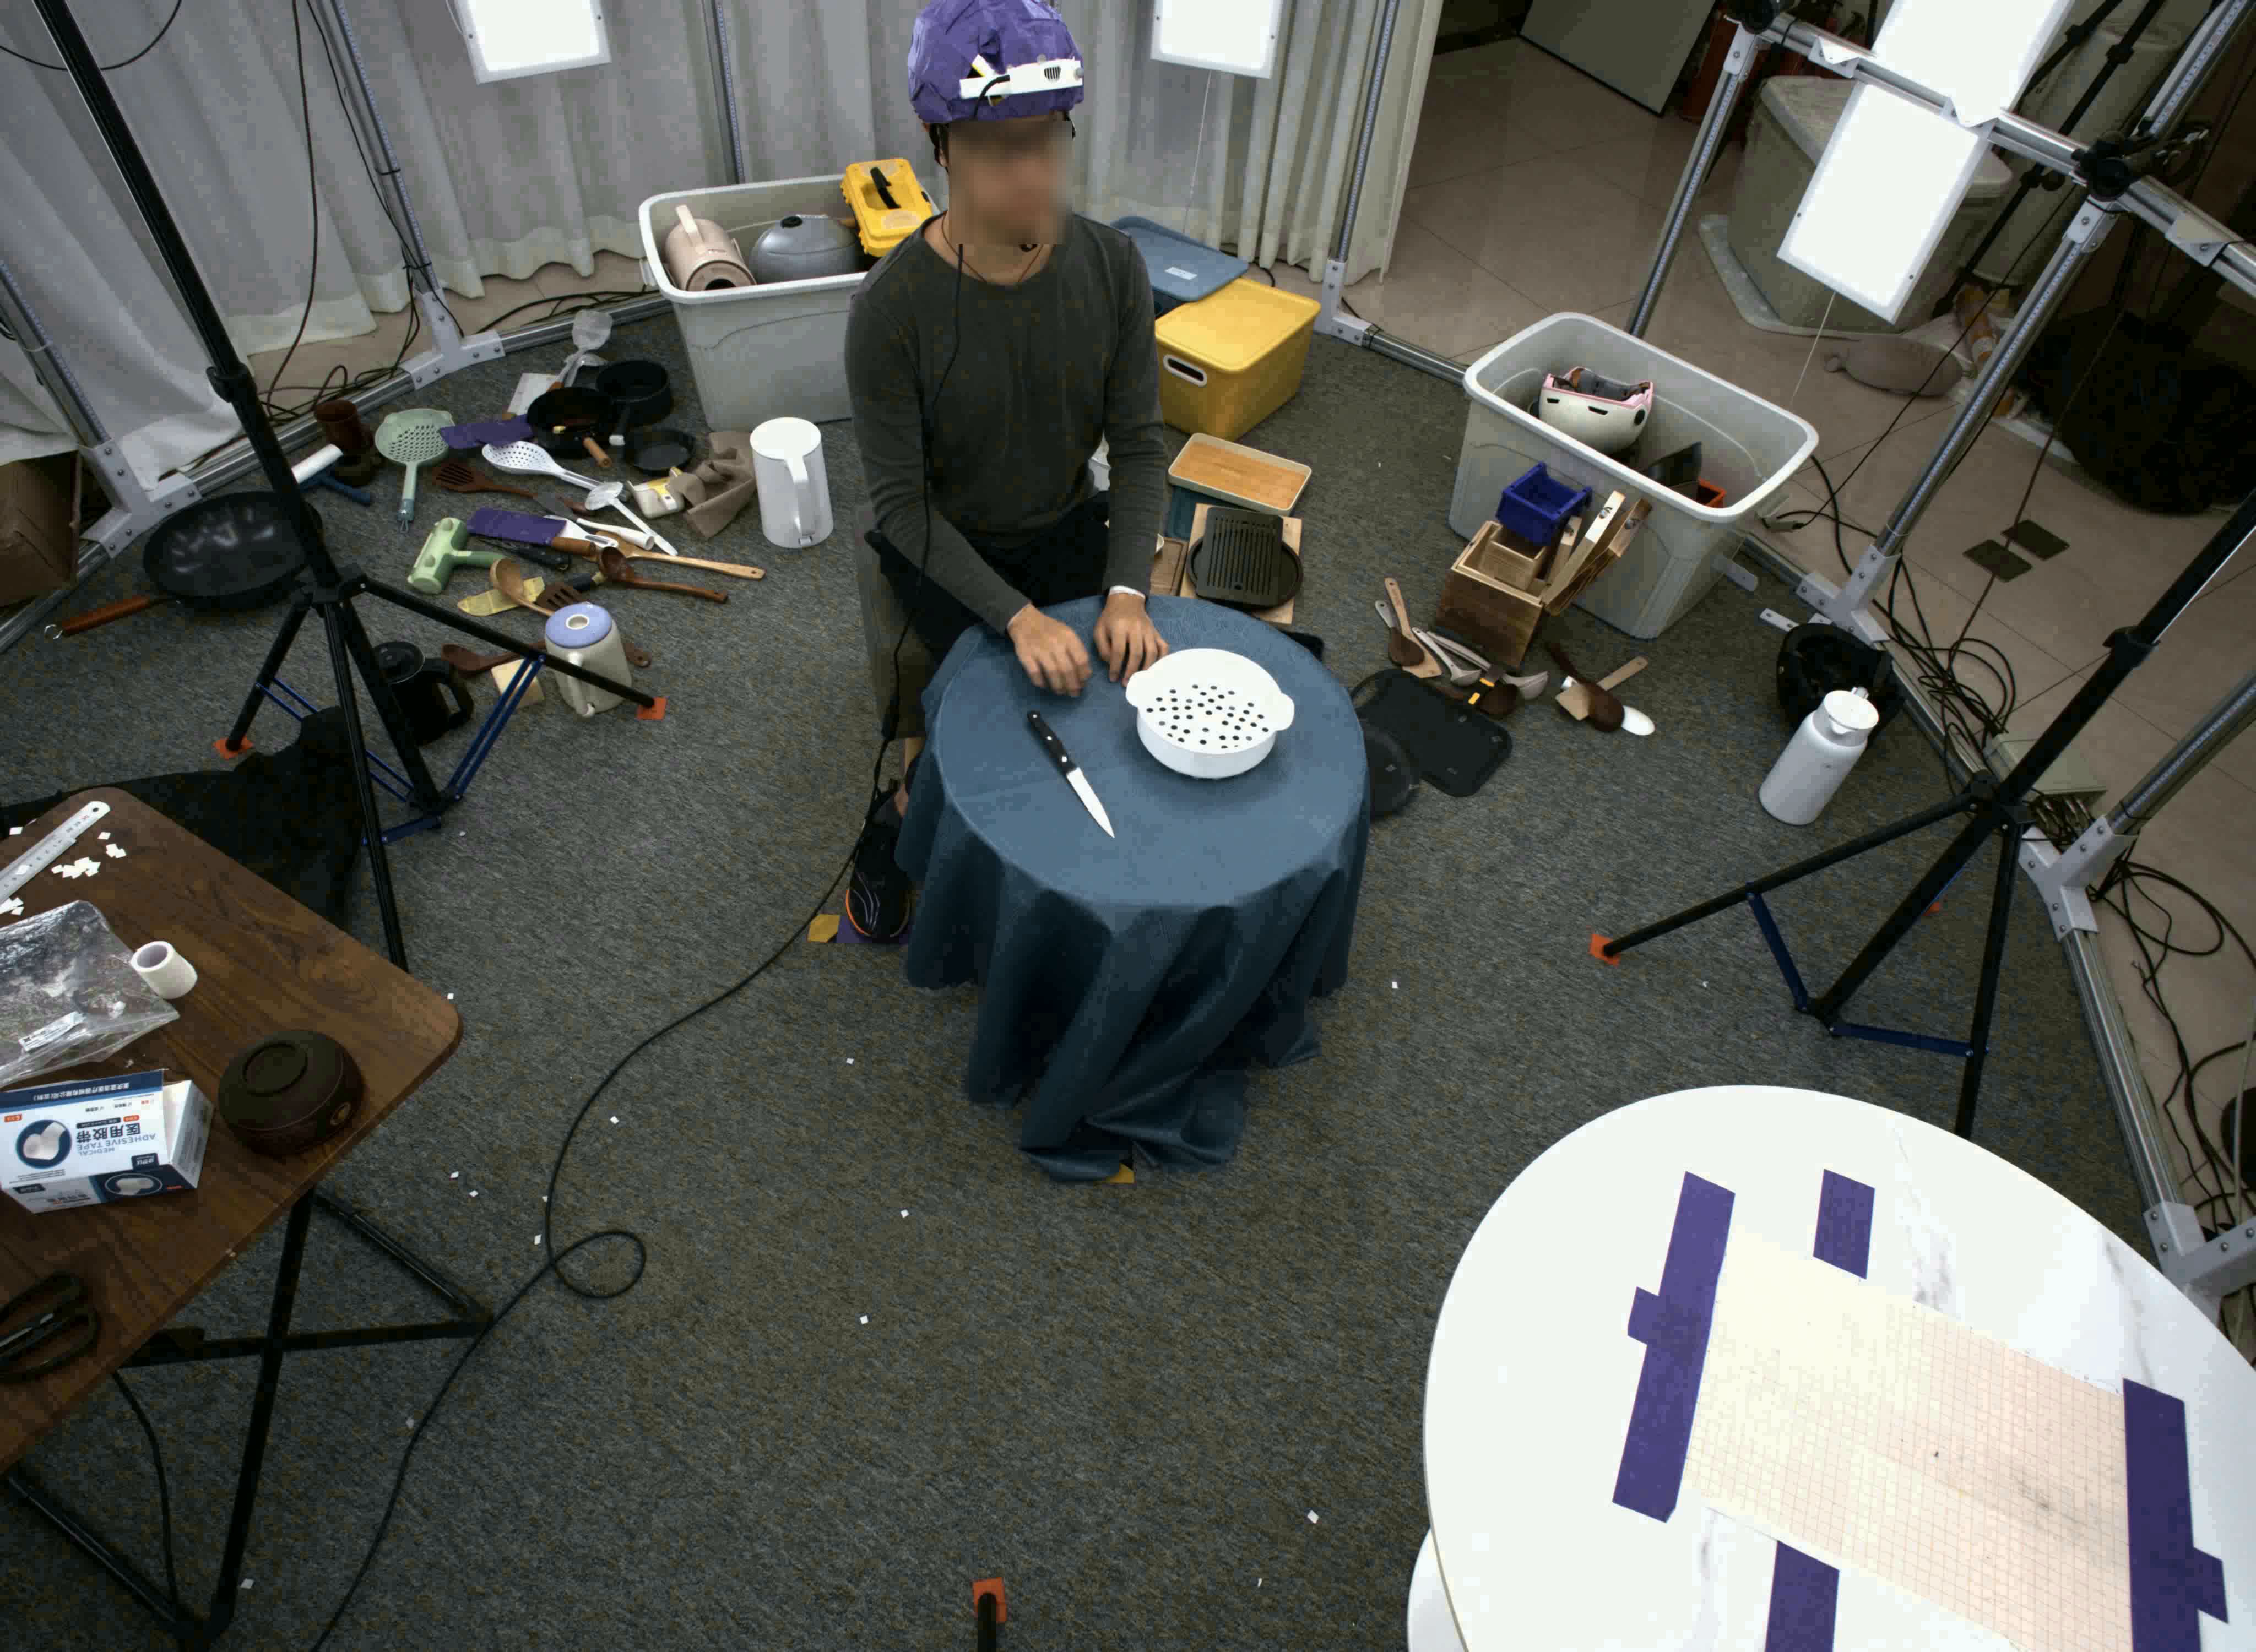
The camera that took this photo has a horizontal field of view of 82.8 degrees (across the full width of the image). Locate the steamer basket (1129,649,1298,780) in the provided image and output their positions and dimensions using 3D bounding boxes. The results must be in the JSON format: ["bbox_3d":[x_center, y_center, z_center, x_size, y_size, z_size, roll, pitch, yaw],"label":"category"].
[{"bbox_3d":[0.115,-0.154,1.764,0.231,0.067,0.206,10,49,6],"label":"steamer basket"}]

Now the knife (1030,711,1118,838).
[{"bbox_3d":[-0.075,-0.069,1.715,0.024,0.016,0.243,-22,57,-19],"label":"knife"}]
